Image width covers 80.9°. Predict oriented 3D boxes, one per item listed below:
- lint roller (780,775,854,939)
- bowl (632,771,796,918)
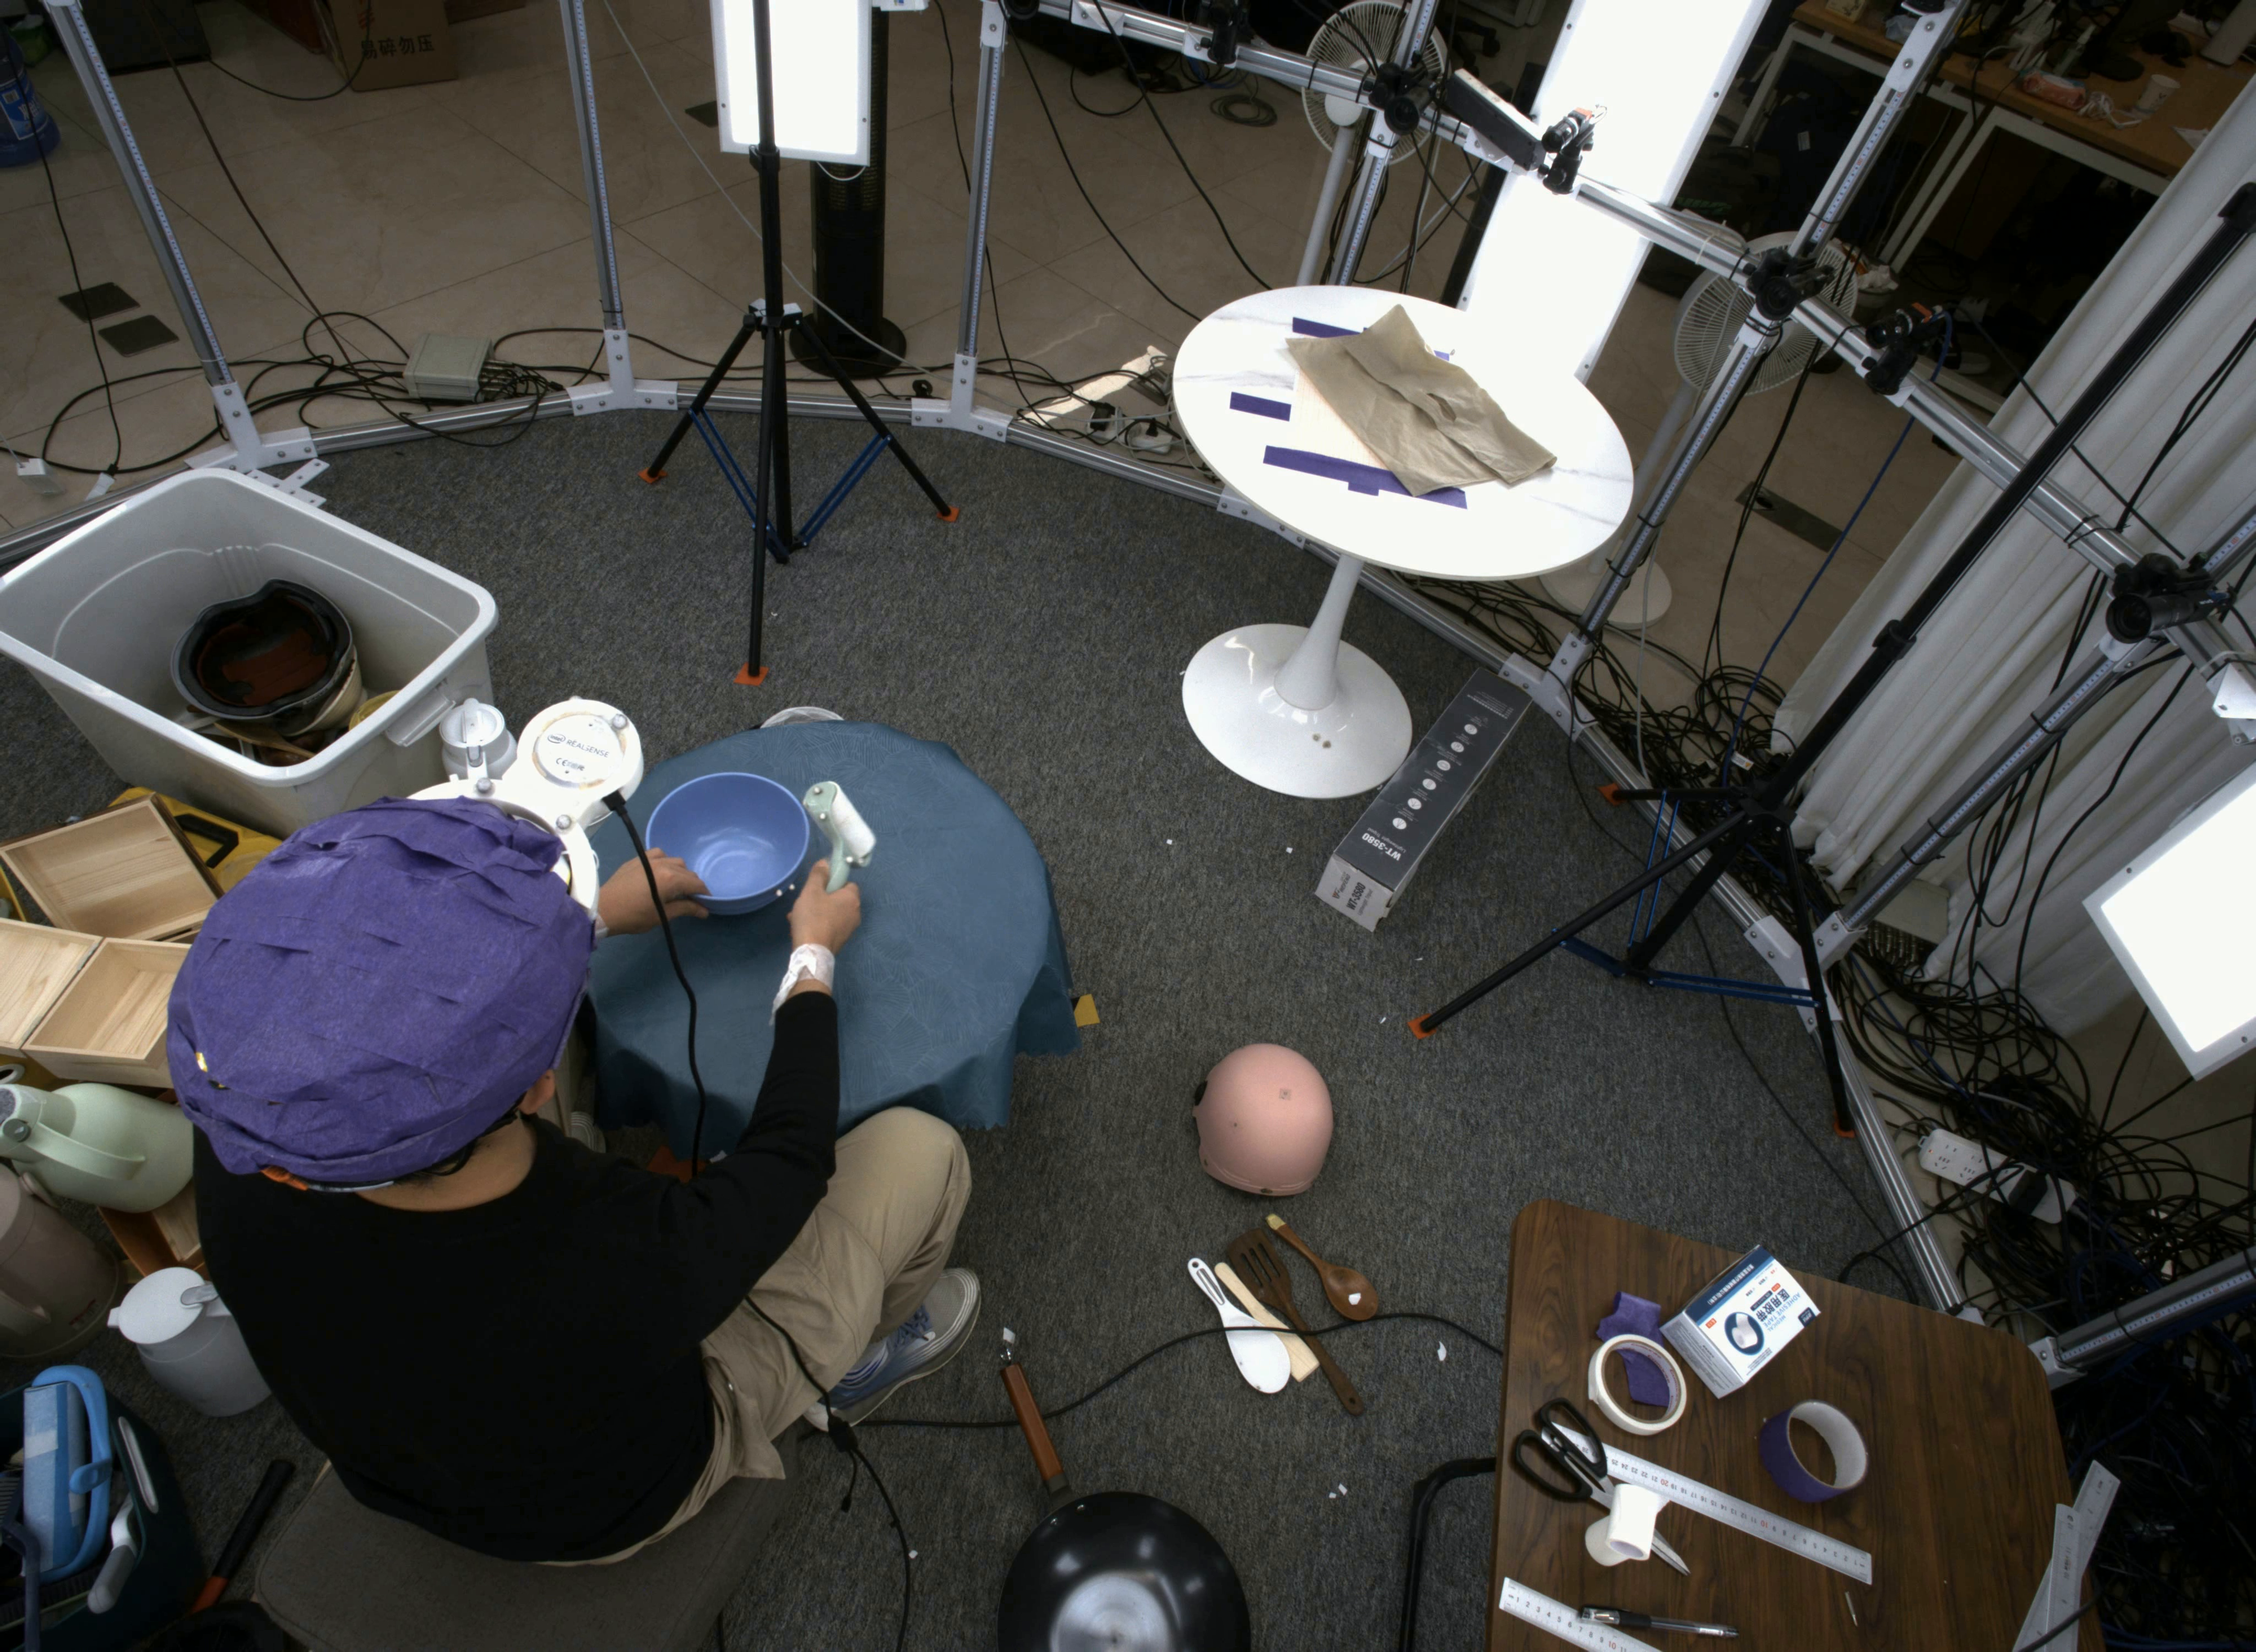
[{"bbox_3d":[-0.374,0.043,1.532,0.047,0.121,0.194,-9,51,10],"label":"lint roller"},{"bbox_3d":[-0.511,0.037,1.604,0.196,0.097,0.193,8,53,-9],"label":"bowl"}]
